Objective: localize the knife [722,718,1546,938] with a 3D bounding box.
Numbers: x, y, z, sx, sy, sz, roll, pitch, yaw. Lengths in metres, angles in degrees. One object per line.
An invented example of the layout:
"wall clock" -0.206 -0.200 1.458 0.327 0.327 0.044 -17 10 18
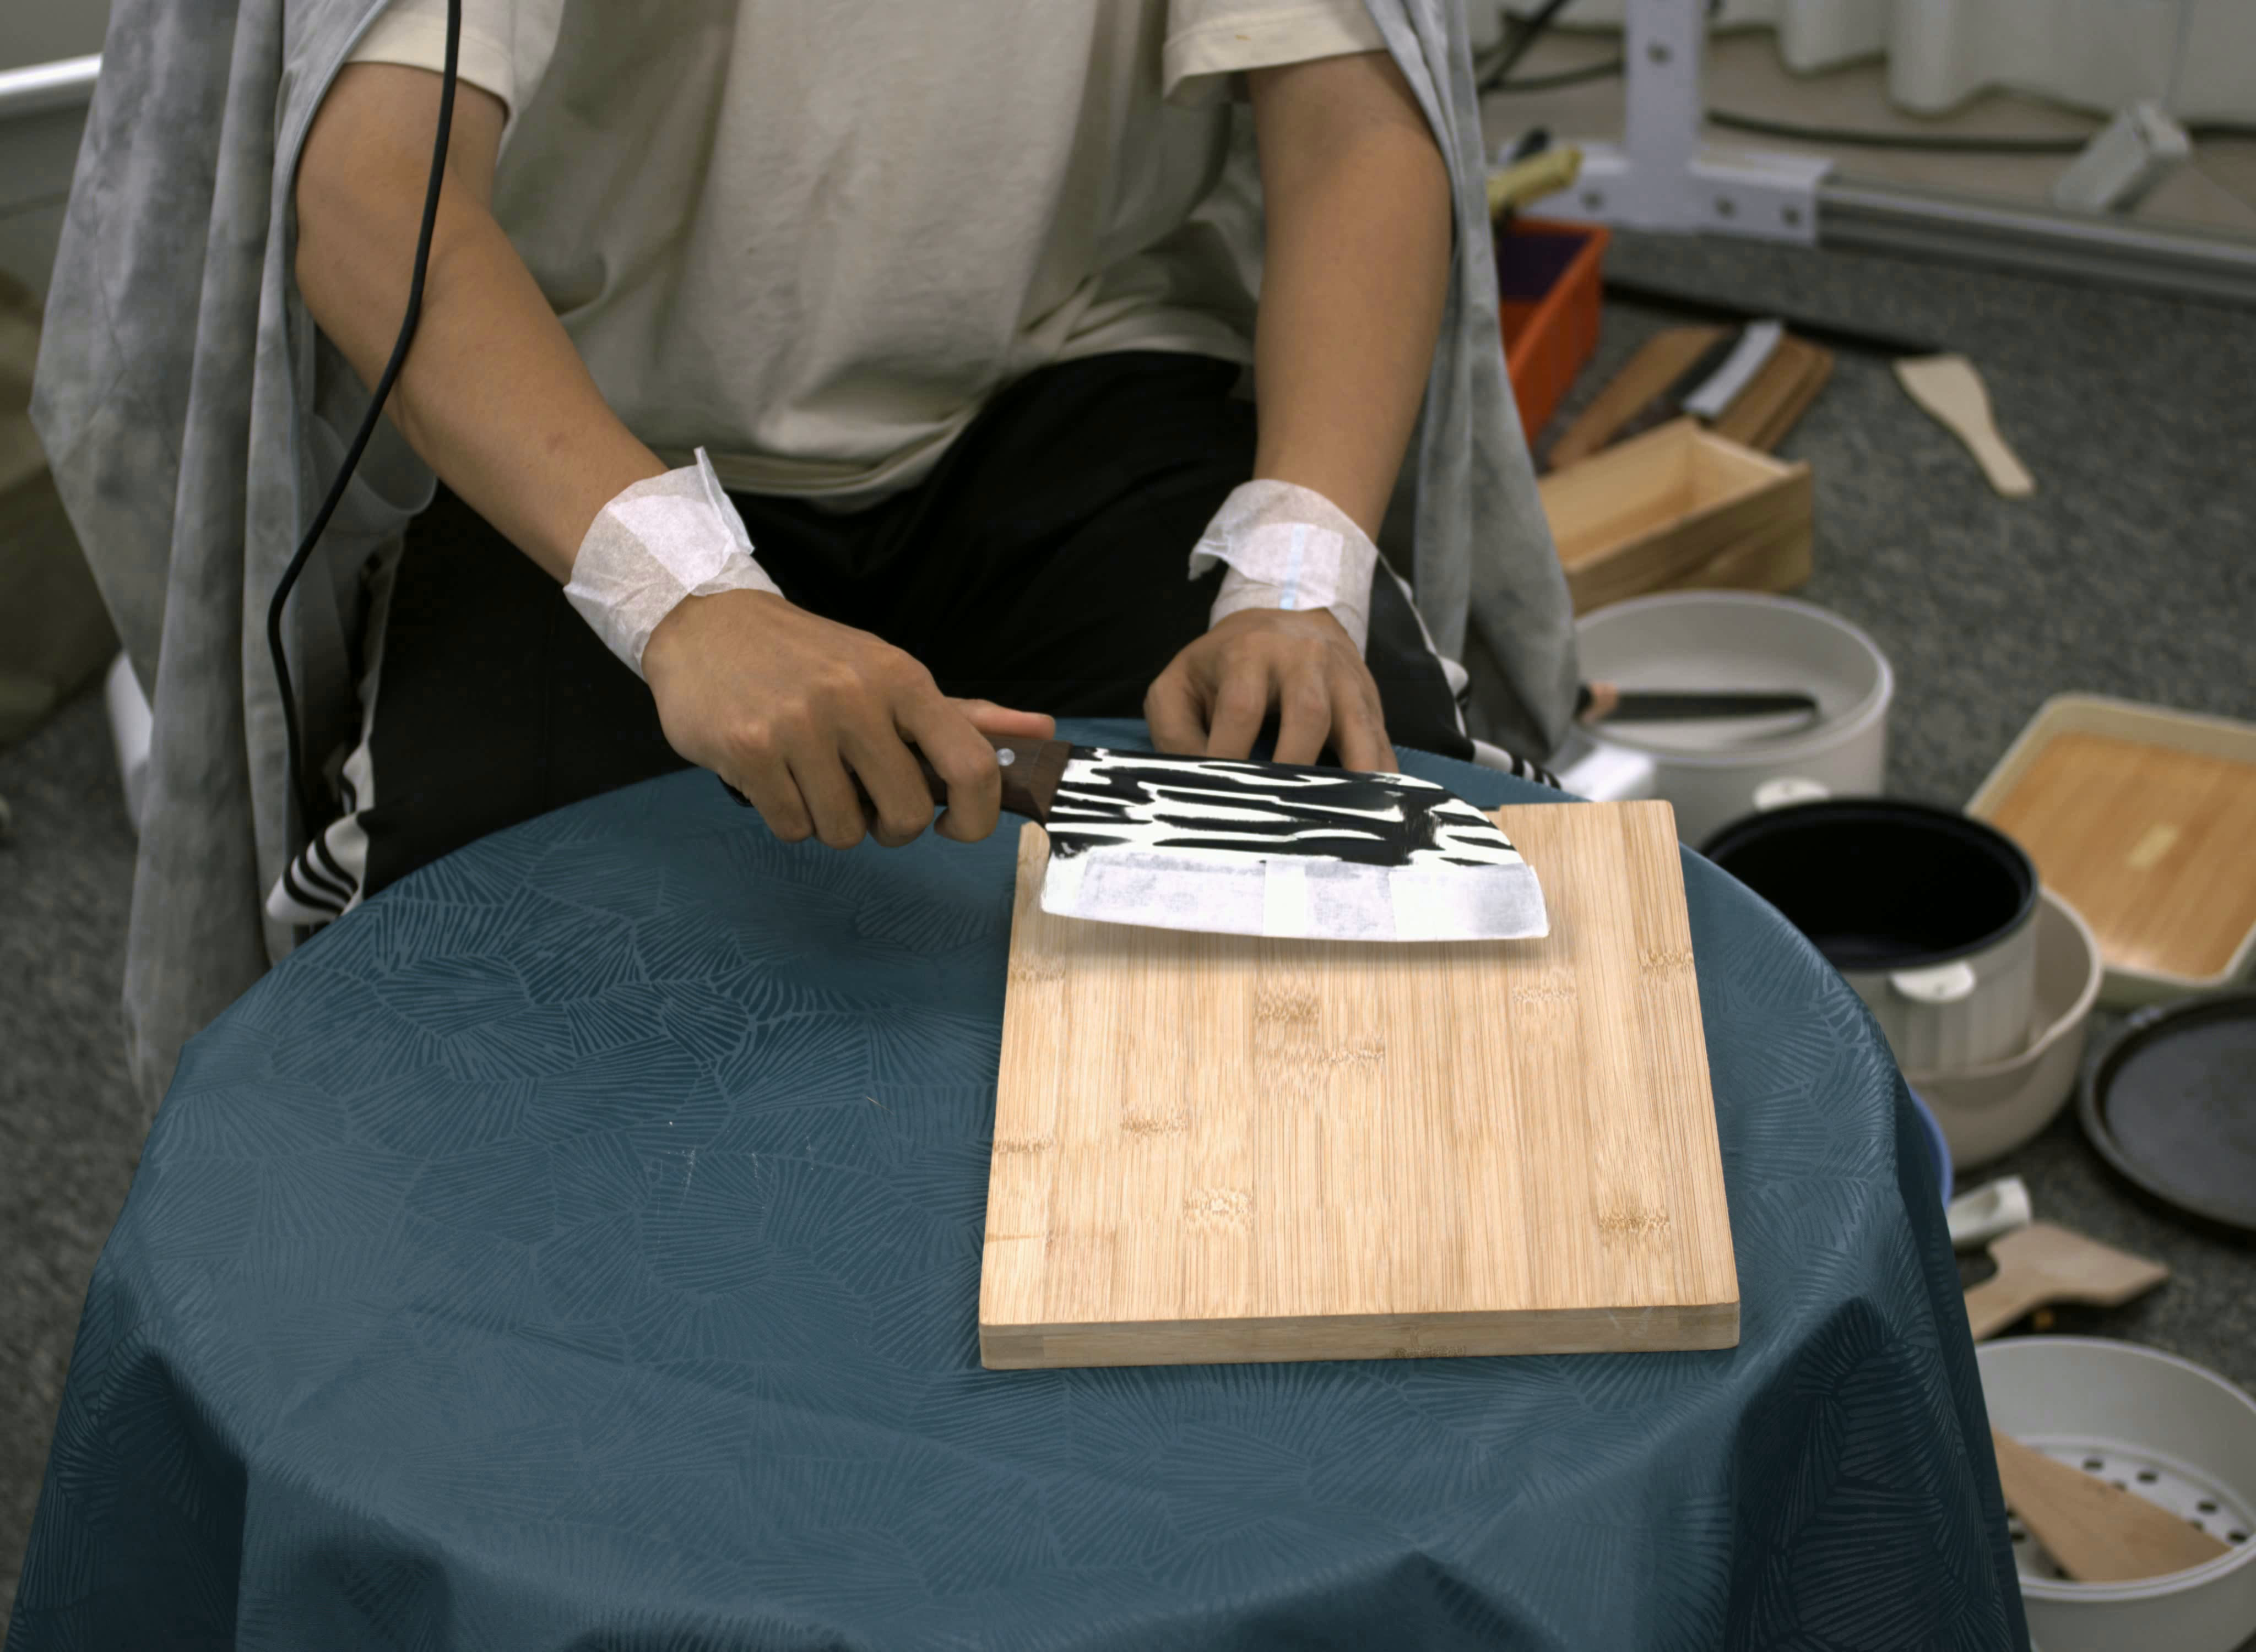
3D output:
"knife" 0.000 0.002 1.974 0.298 0.023 0.069 6 63 6

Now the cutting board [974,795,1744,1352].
"cutting board" 0.077 0.080 1.916 0.249 0.023 0.354 -2 27 1
